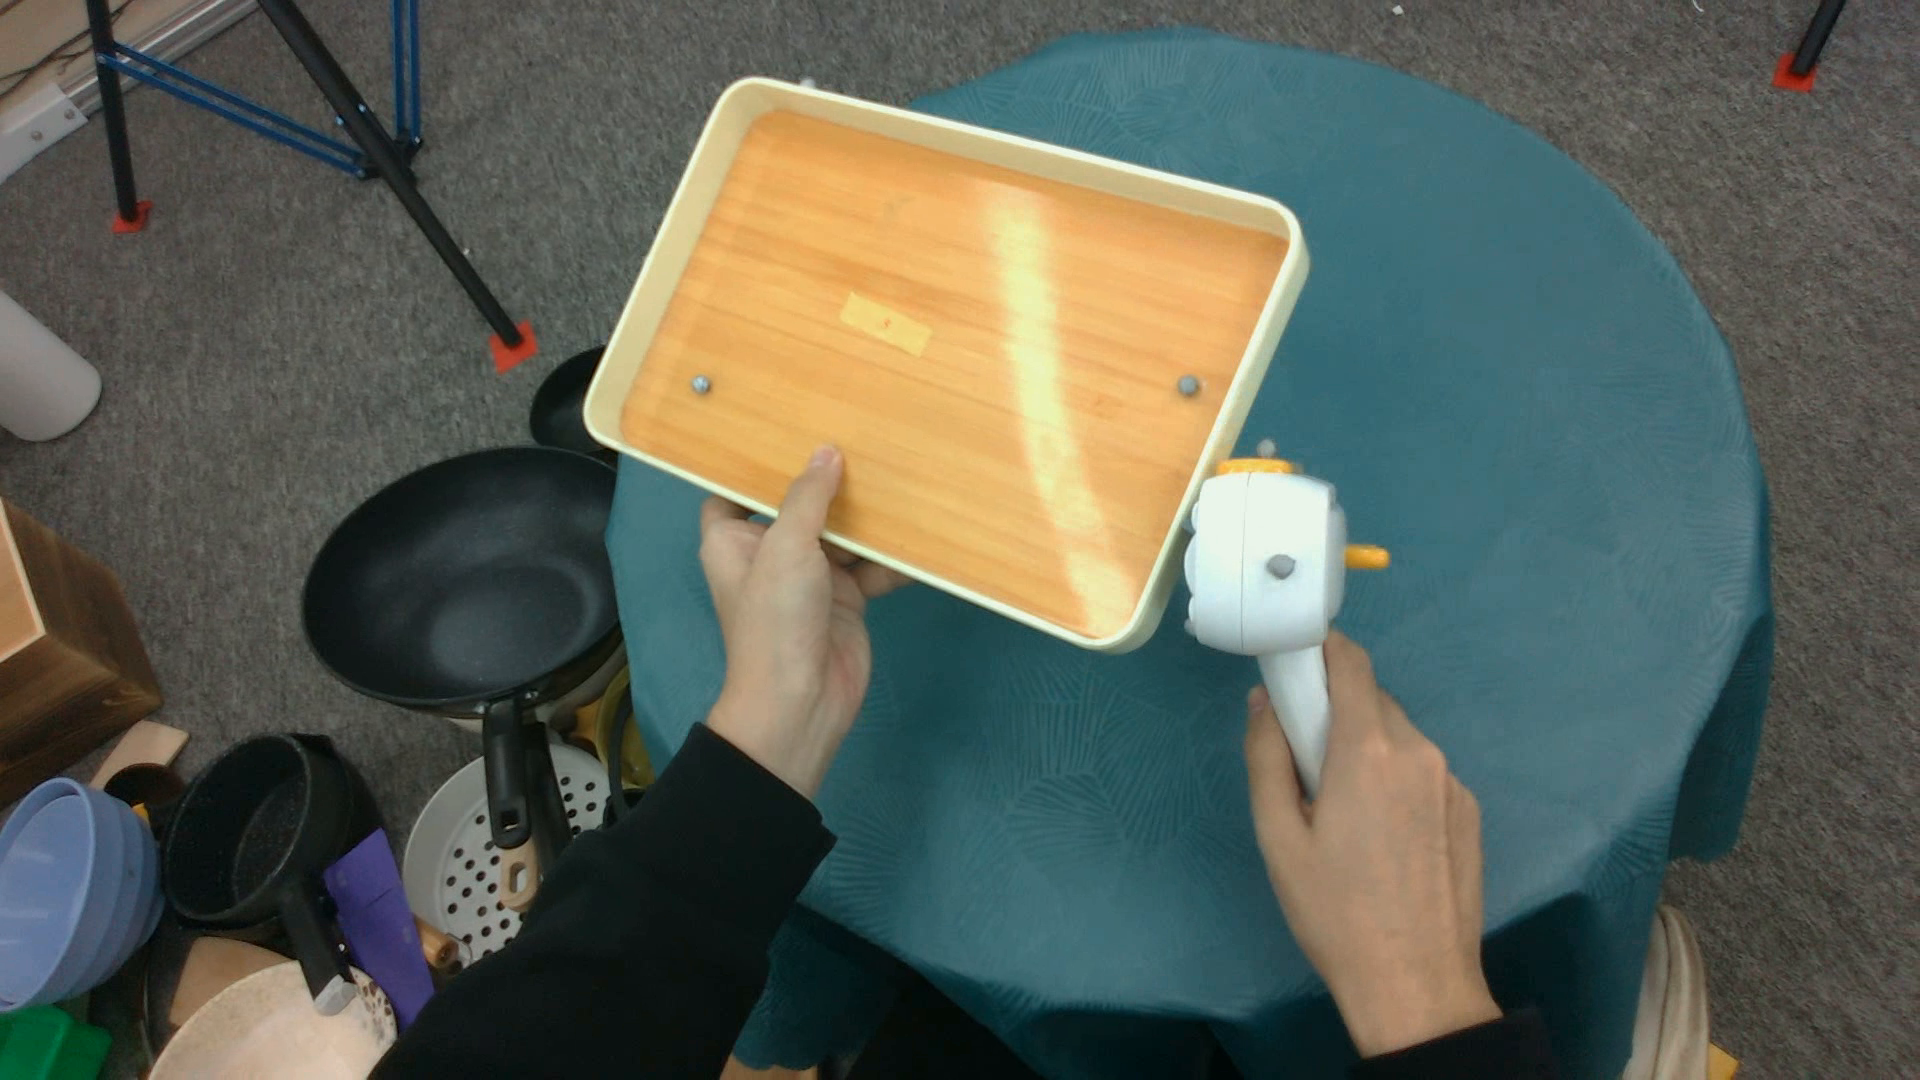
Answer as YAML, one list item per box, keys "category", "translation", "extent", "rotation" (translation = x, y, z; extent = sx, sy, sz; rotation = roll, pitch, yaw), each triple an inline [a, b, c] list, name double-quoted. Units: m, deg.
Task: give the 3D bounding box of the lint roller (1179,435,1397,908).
- category: "lint roller"
  translation: [0.135, 0.055, 0.553]
  extent: [0.074, 0.193, 0.192]
  rotation: [-7, 95, 11]

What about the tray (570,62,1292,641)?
- category: "tray"
  translation: [-0.026, -0.093, 0.602]
  extent: [0.300, 0.027, 0.191]
  rotation: [22, 88, 26]
